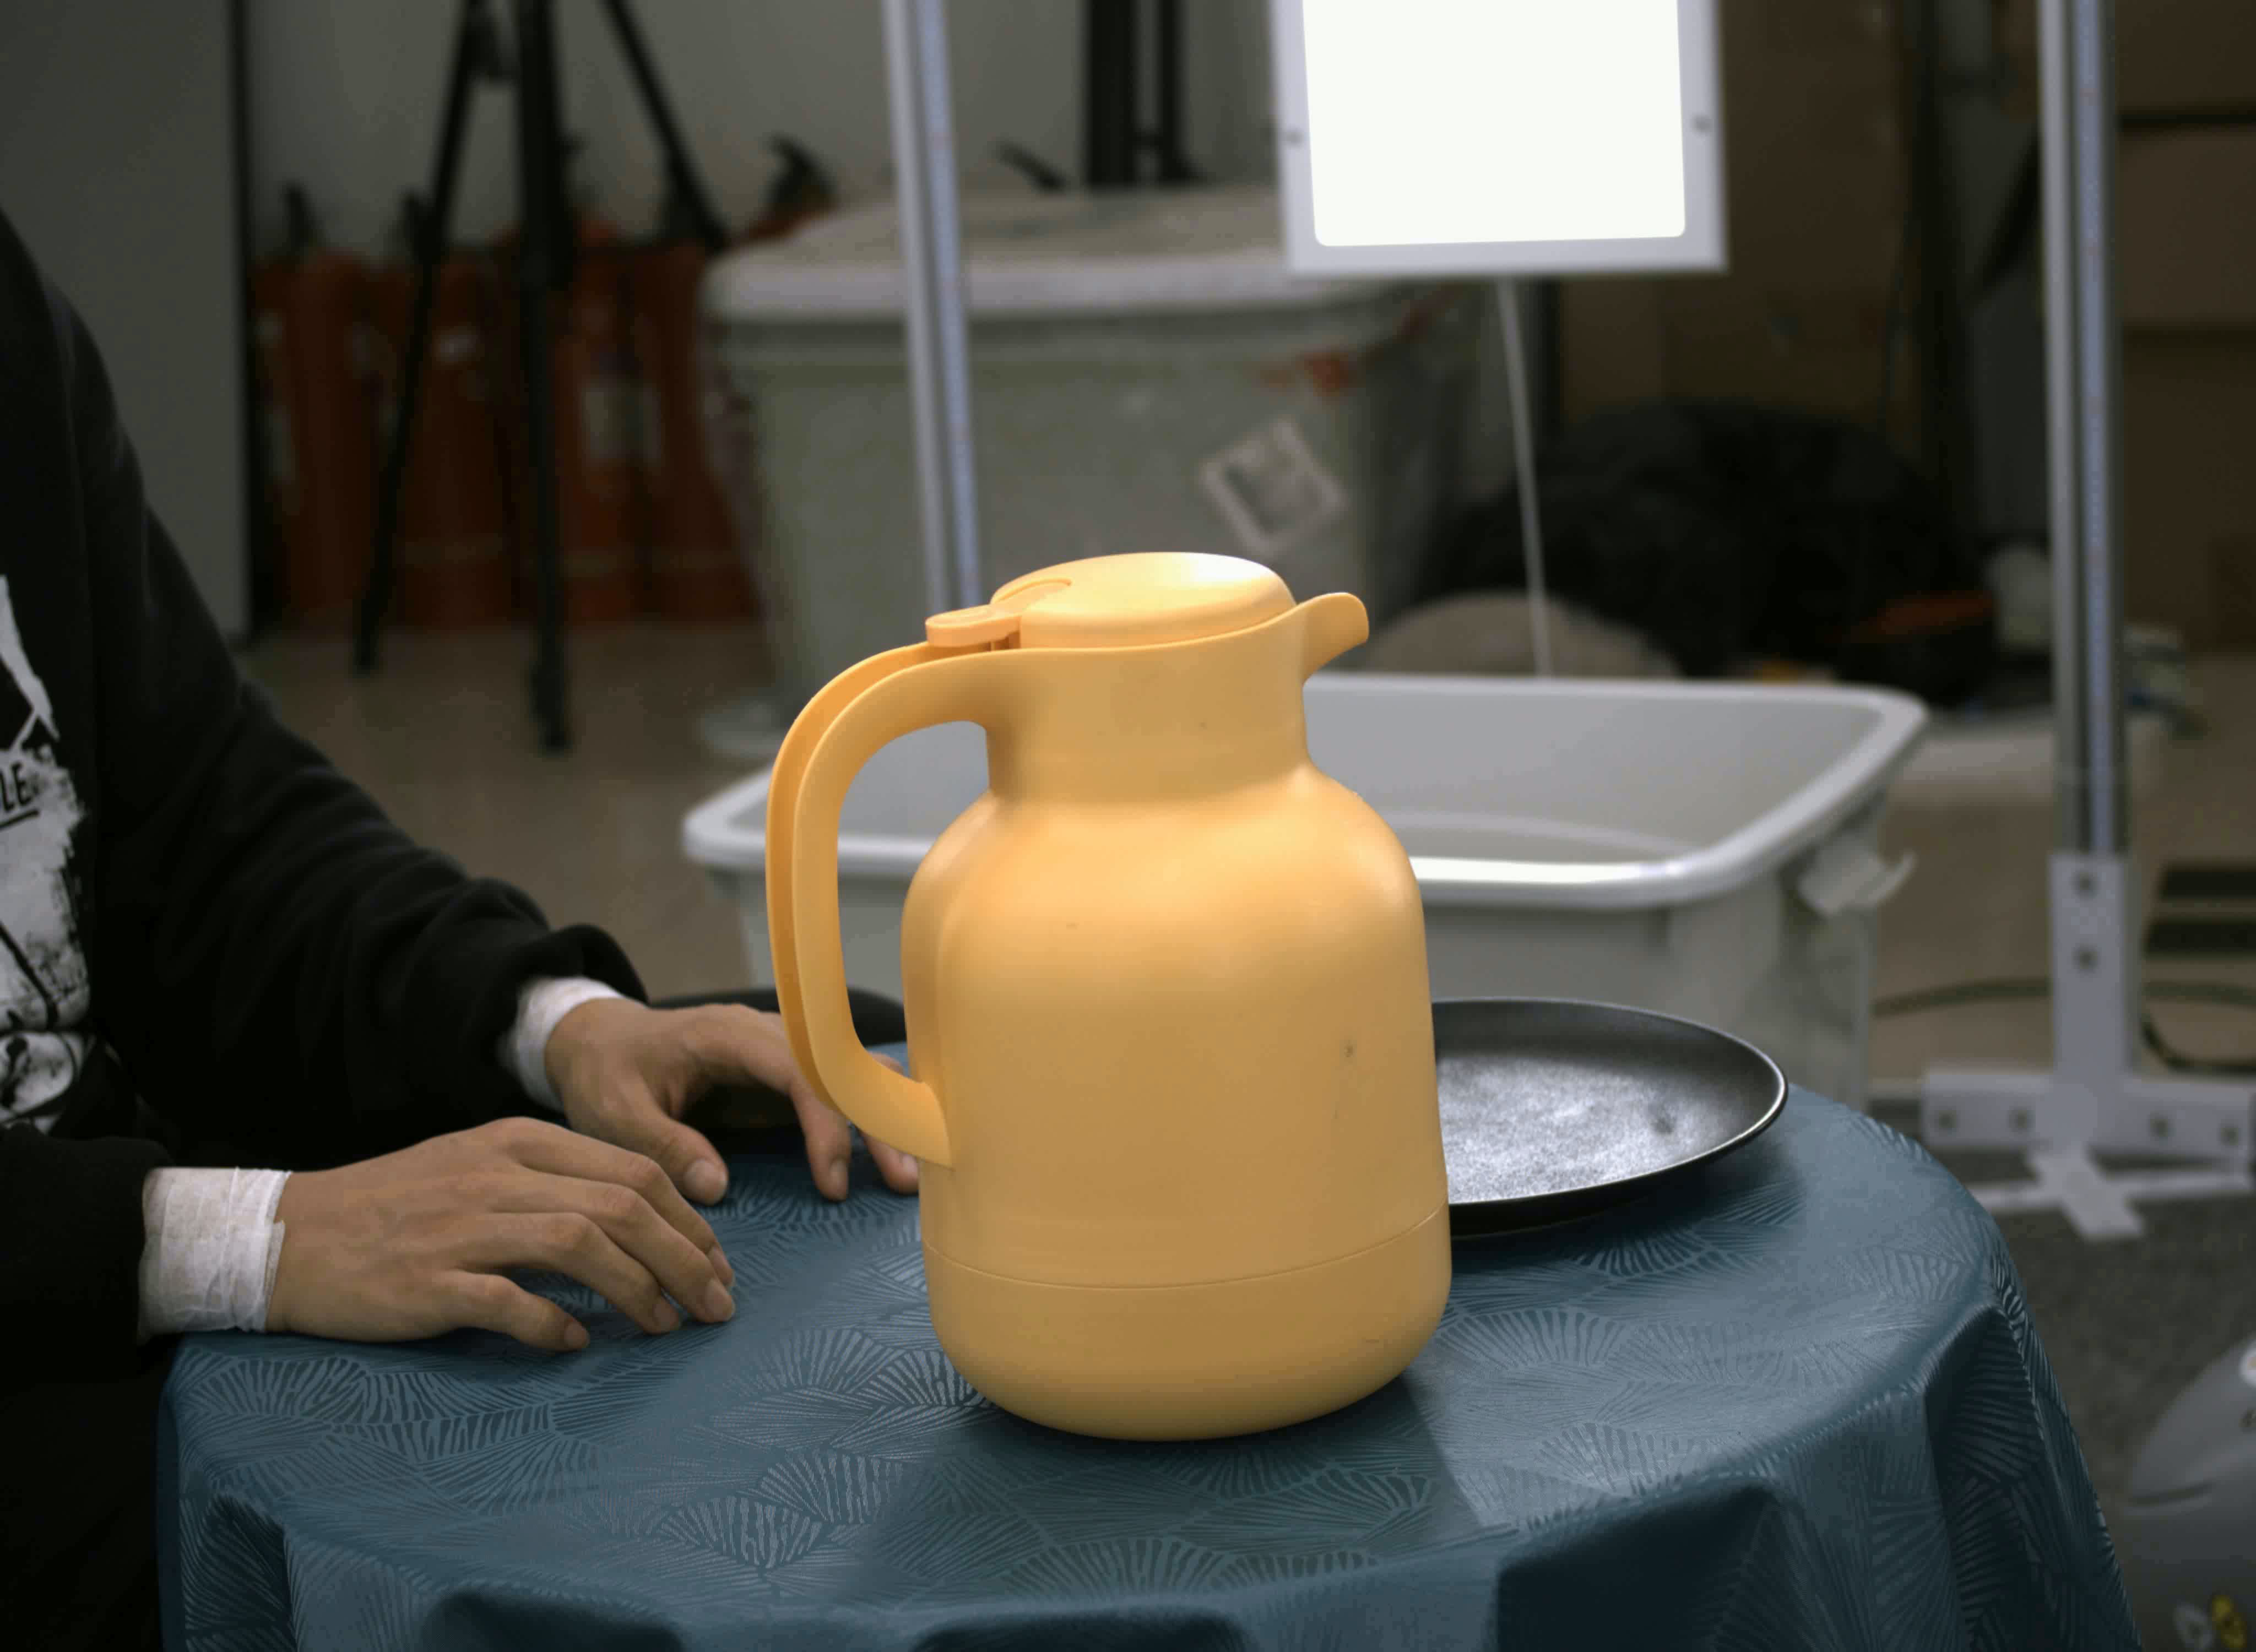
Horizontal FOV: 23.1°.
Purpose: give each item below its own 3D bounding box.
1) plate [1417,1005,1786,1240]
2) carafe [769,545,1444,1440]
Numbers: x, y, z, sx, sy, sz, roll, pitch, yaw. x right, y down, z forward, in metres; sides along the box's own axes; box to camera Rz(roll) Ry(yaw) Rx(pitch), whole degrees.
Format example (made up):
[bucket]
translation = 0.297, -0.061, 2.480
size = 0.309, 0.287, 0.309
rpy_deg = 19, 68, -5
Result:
[plate]
translation = 0.107, 0.104, 1.900
size = 0.244, 0.023, 0.244
rpy_deg = -5, 14, 0
[carafe]
translation = -0.008, 0.049, 1.669
size = 0.199, 0.261, 0.165
rpy_deg = -8, 12, -18
